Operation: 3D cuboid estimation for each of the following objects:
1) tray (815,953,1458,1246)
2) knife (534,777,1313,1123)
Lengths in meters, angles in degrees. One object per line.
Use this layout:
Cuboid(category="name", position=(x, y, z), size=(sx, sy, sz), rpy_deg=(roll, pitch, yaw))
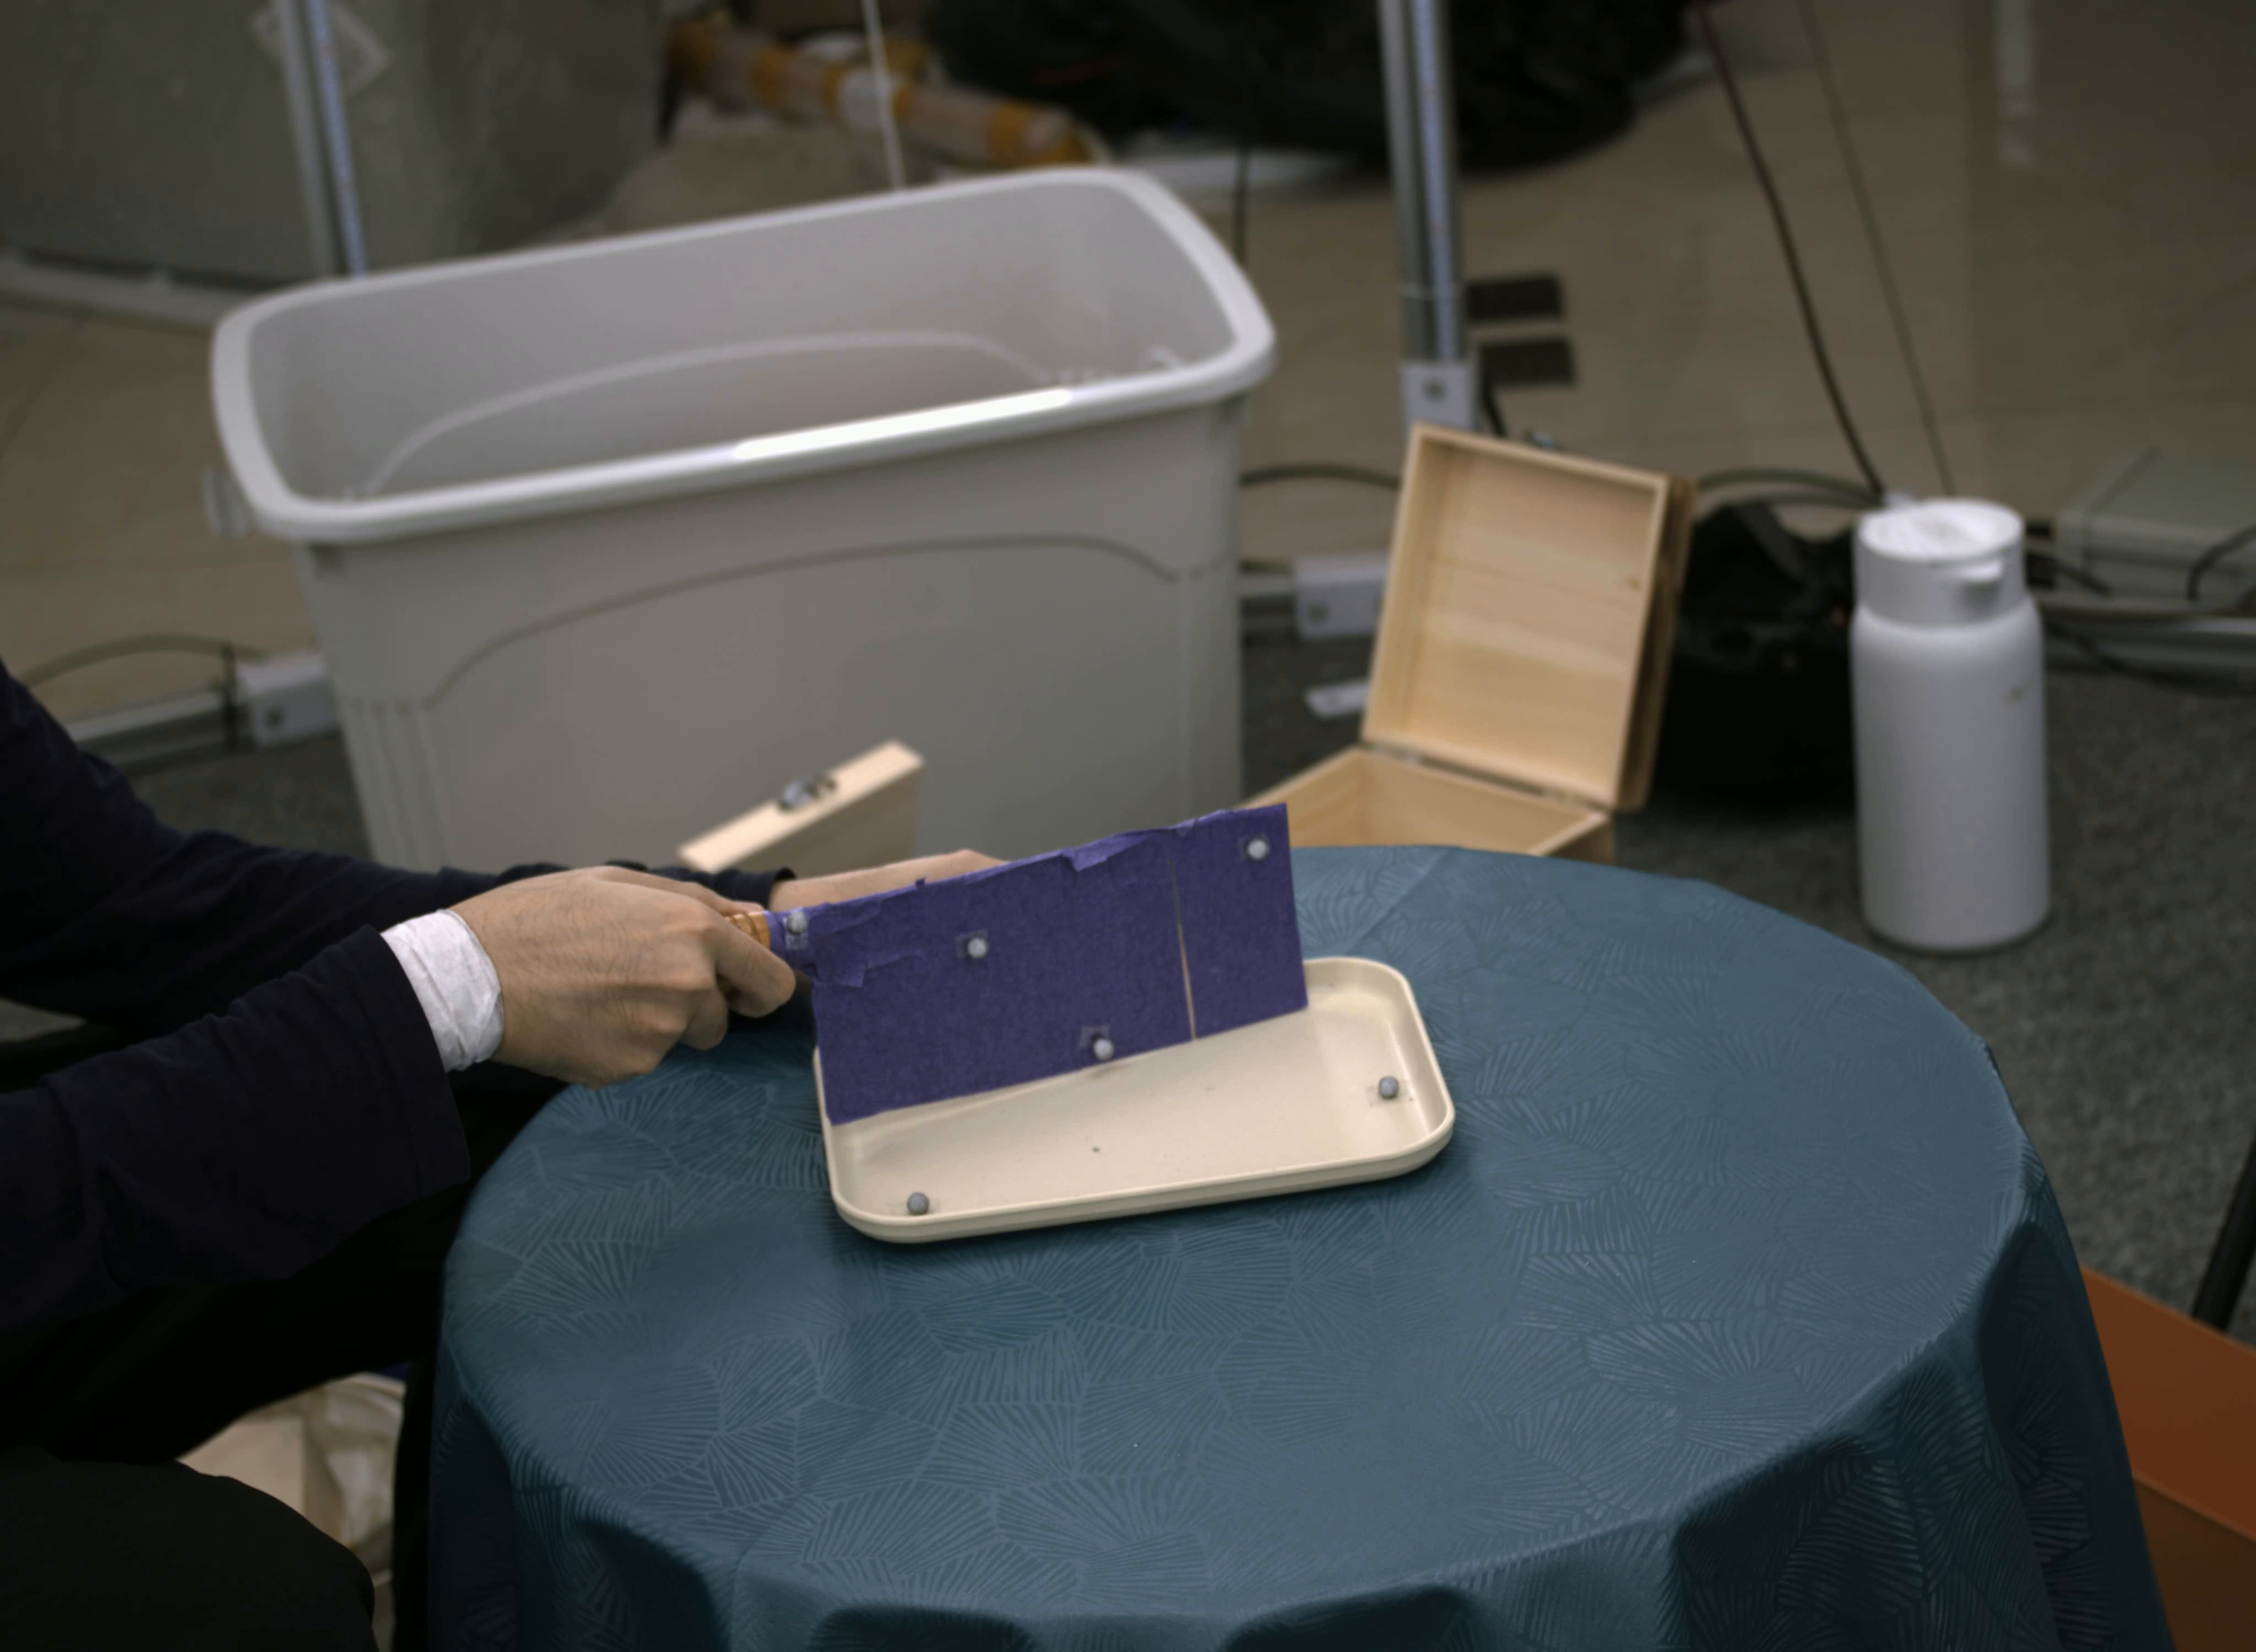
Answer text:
Cuboid(category="tray", position=(0.001, 0.106, 2.196), size=(0.239, 0.018, 0.168), rpy_deg=(-7, 27, -3))
Cuboid(category="knife", position=(-0.072, 0.063, 2.189), size=(0.314, 0.105, 0.032), rpy_deg=(-13, 20, -18))
